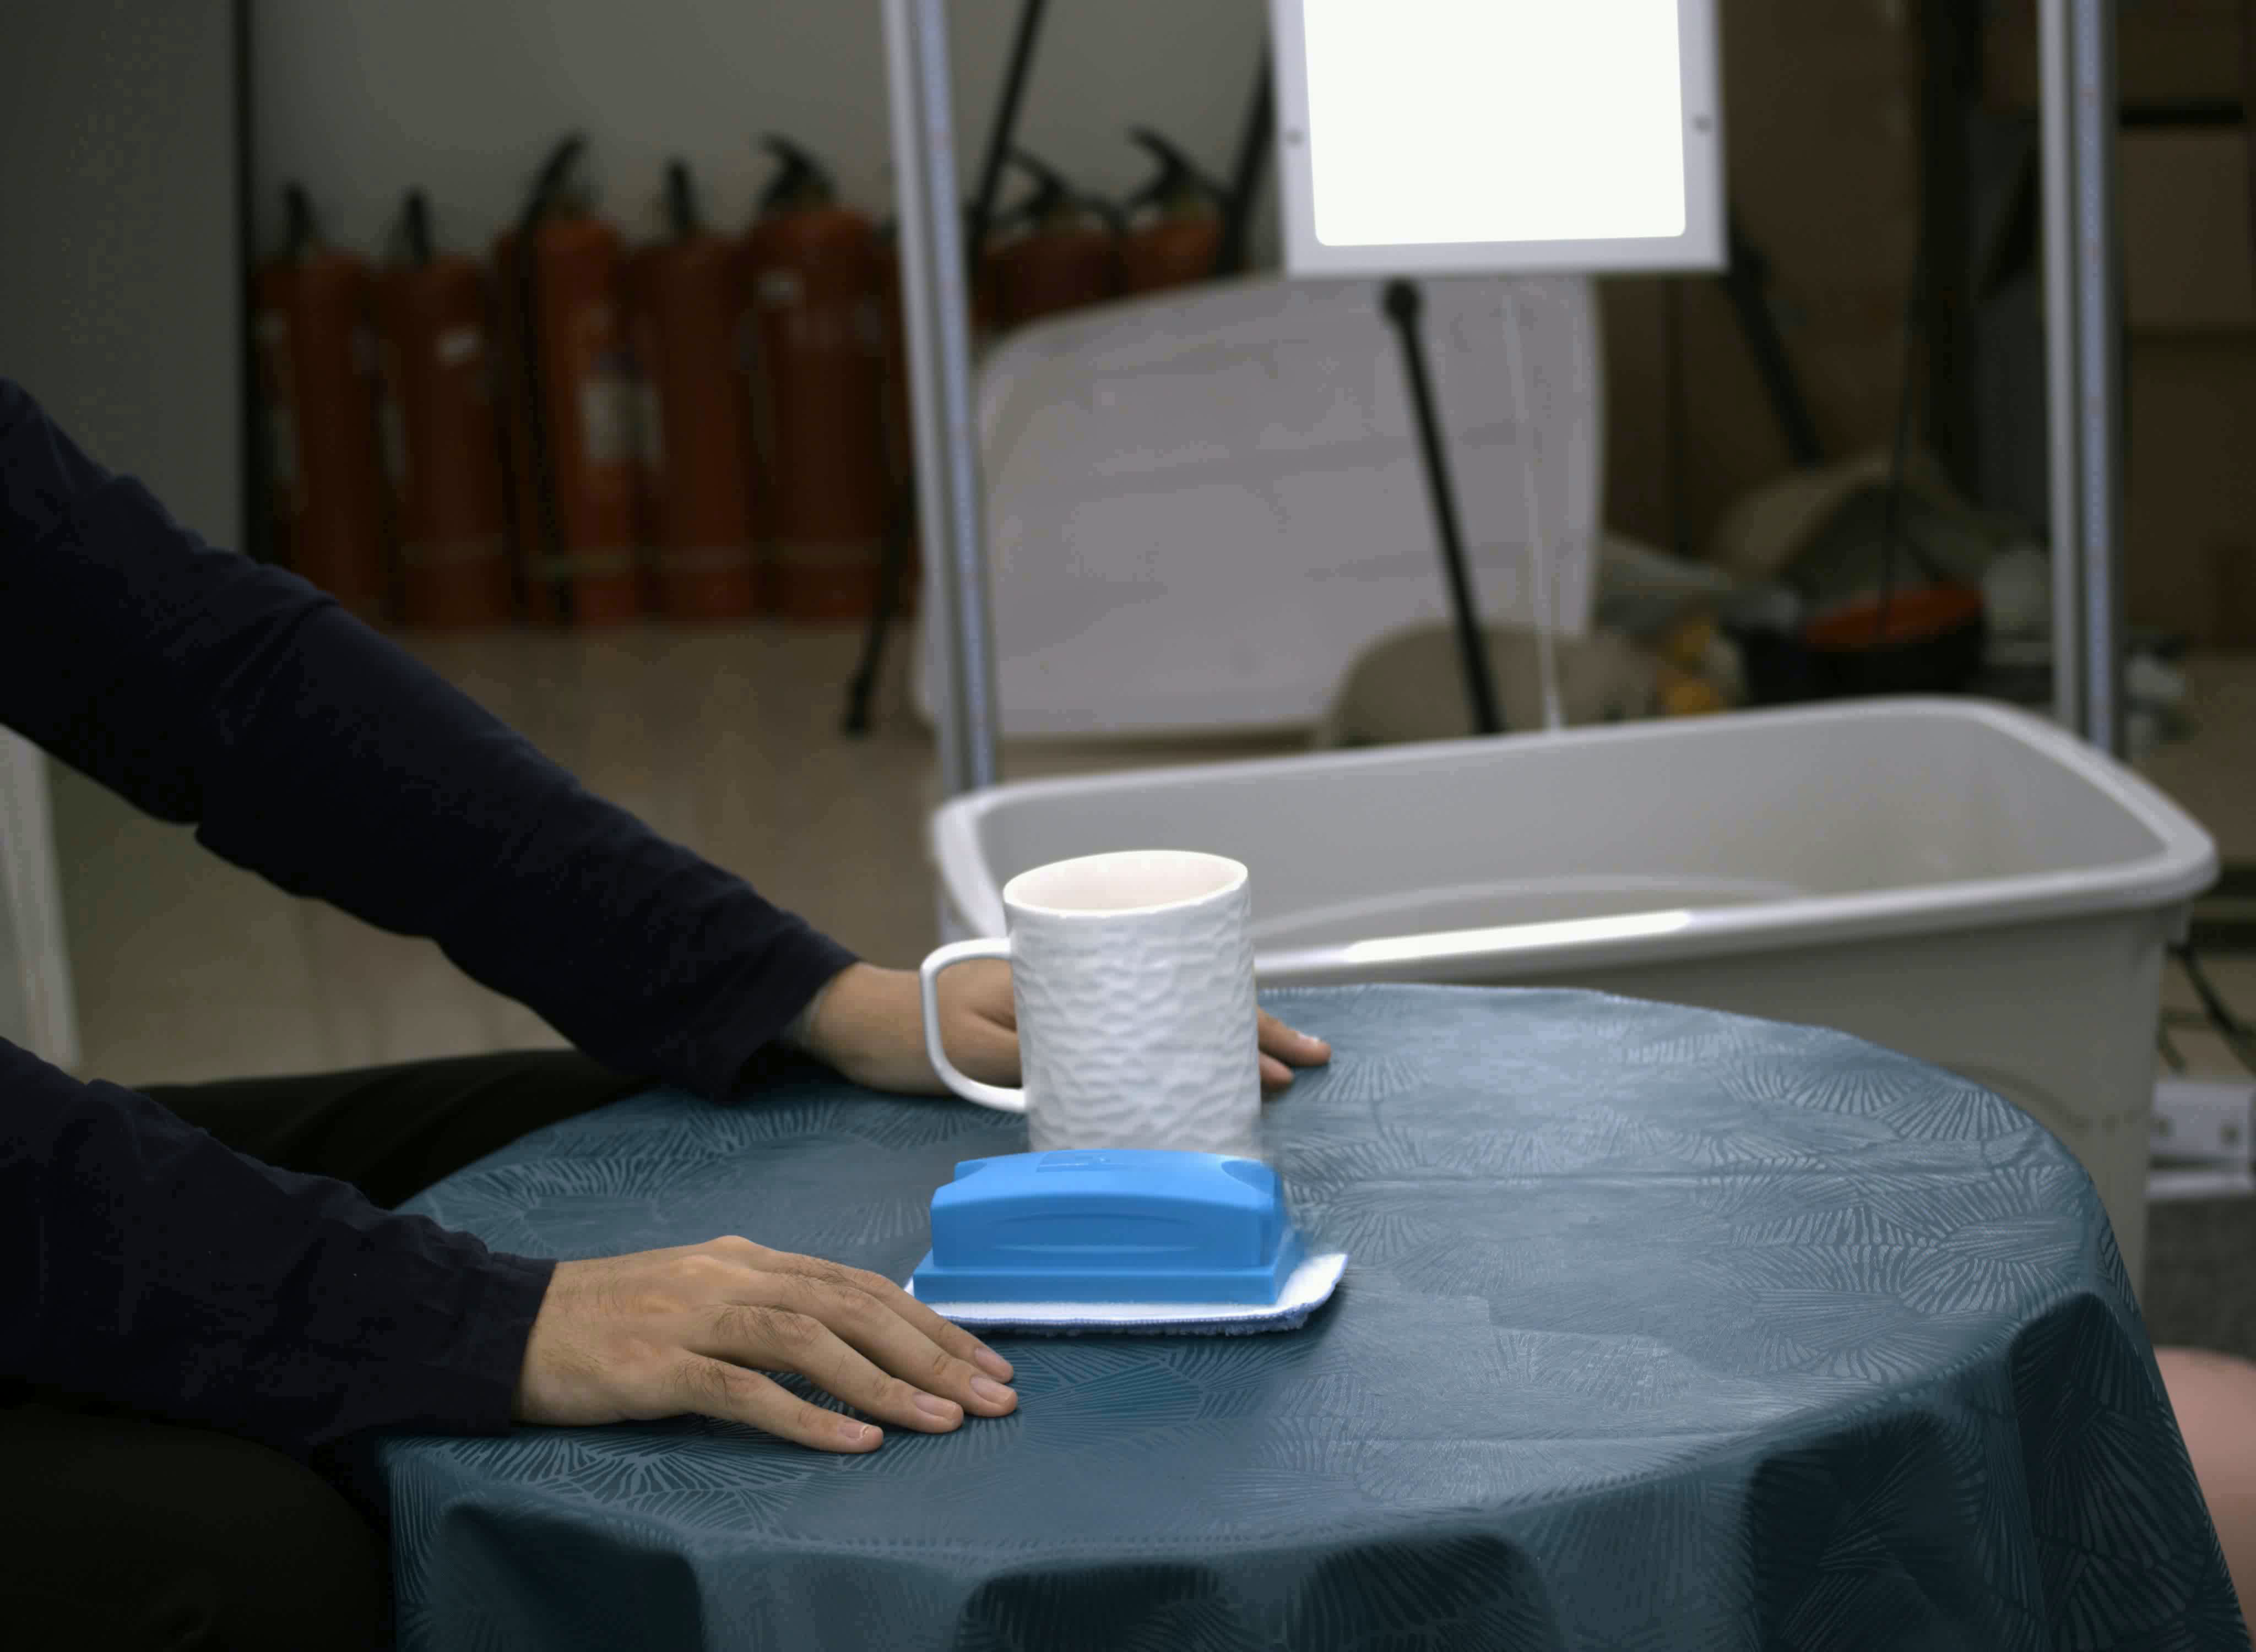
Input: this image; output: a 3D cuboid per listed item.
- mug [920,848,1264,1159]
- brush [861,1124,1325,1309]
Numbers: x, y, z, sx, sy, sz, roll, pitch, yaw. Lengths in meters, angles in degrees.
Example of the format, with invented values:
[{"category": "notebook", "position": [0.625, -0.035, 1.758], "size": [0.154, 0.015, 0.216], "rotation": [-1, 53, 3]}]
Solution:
[{"category": "mug", "position": [-0.012, 0.070, 1.922], "size": [0.117, 0.102, 0.085], "rotation": [-6, 15, -4]}, {"category": "brush", "position": [-0.011, 0.126, 1.776], "size": [0.145, 0.056, 0.082], "rotation": [2, 12, 17]}]
